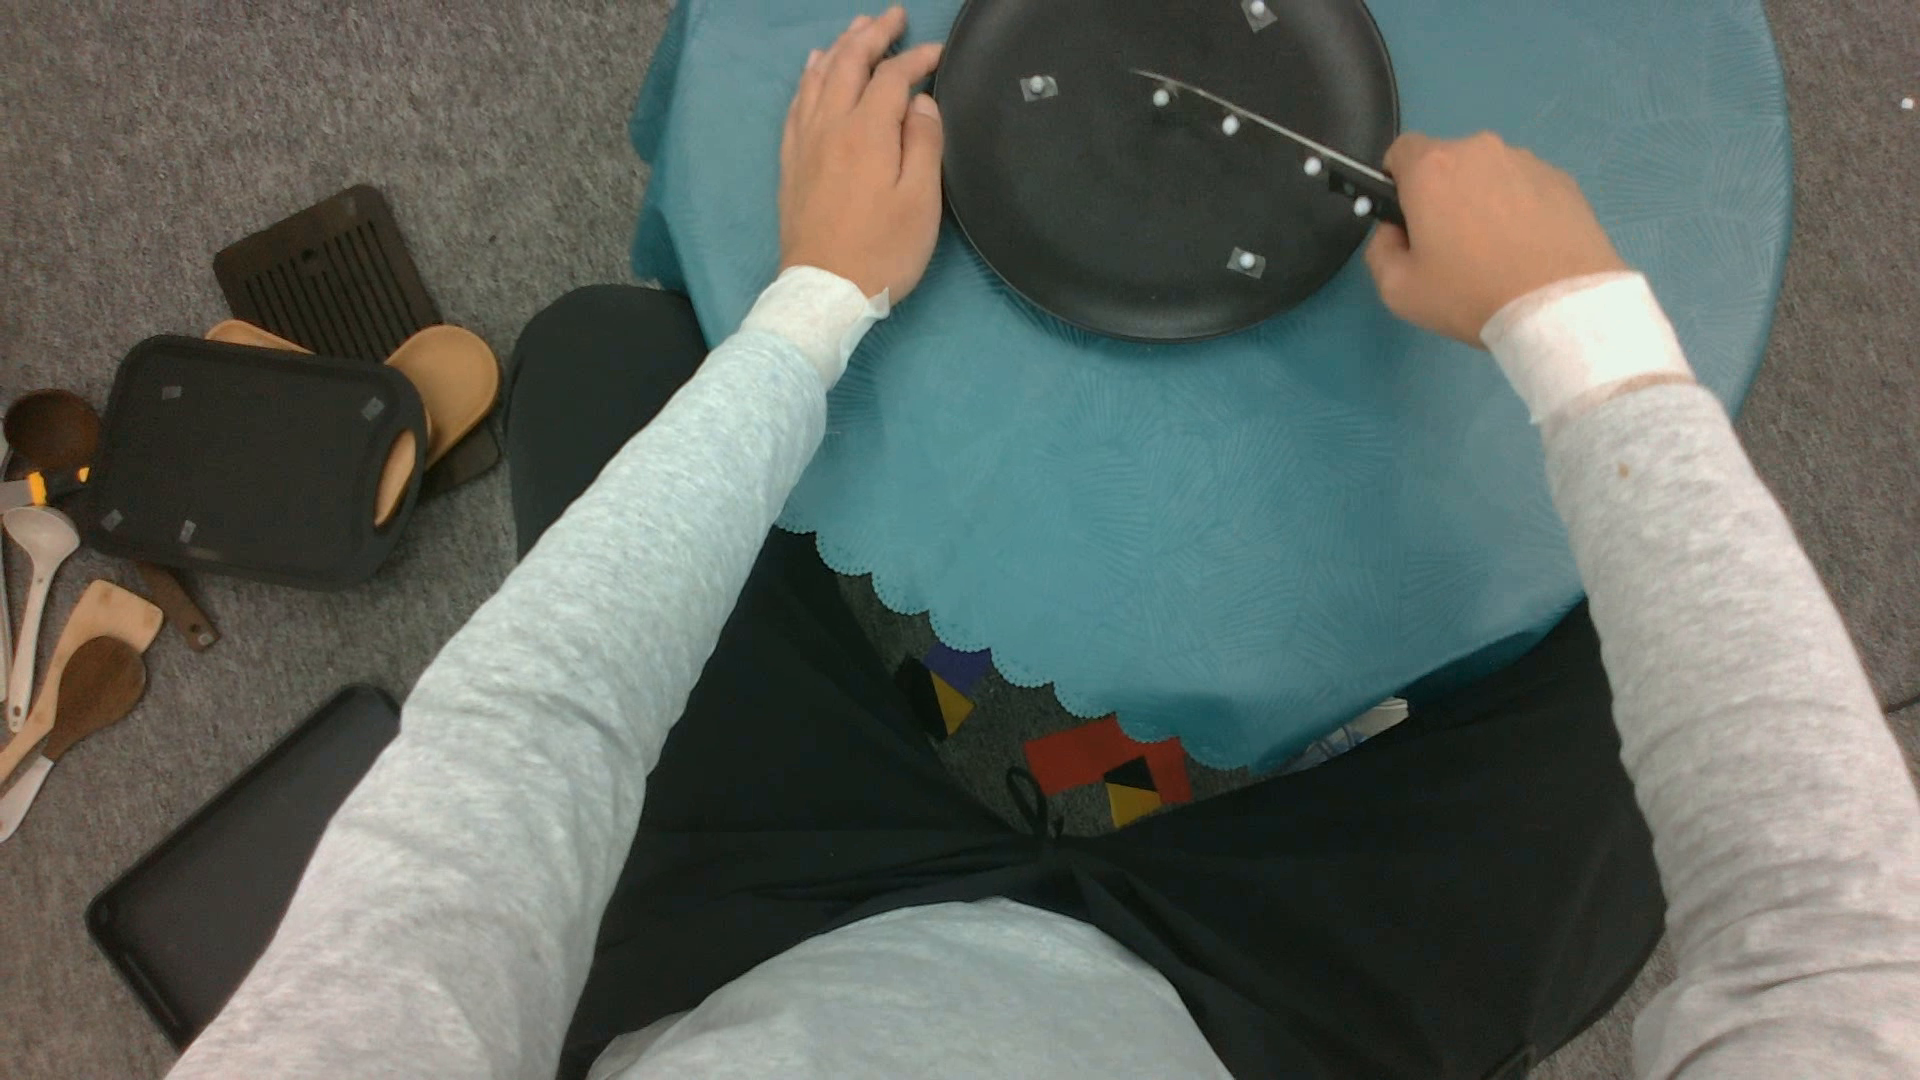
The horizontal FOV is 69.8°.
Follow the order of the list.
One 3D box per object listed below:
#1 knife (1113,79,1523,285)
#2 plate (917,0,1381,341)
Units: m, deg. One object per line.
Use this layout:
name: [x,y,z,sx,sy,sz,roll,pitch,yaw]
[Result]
knife: [0.169,-0.186,0.682,0.238,0.024,0.016,35,76,26]
plate: [0.099,-0.222,0.731,0.244,0.023,0.244,0,81,0]
